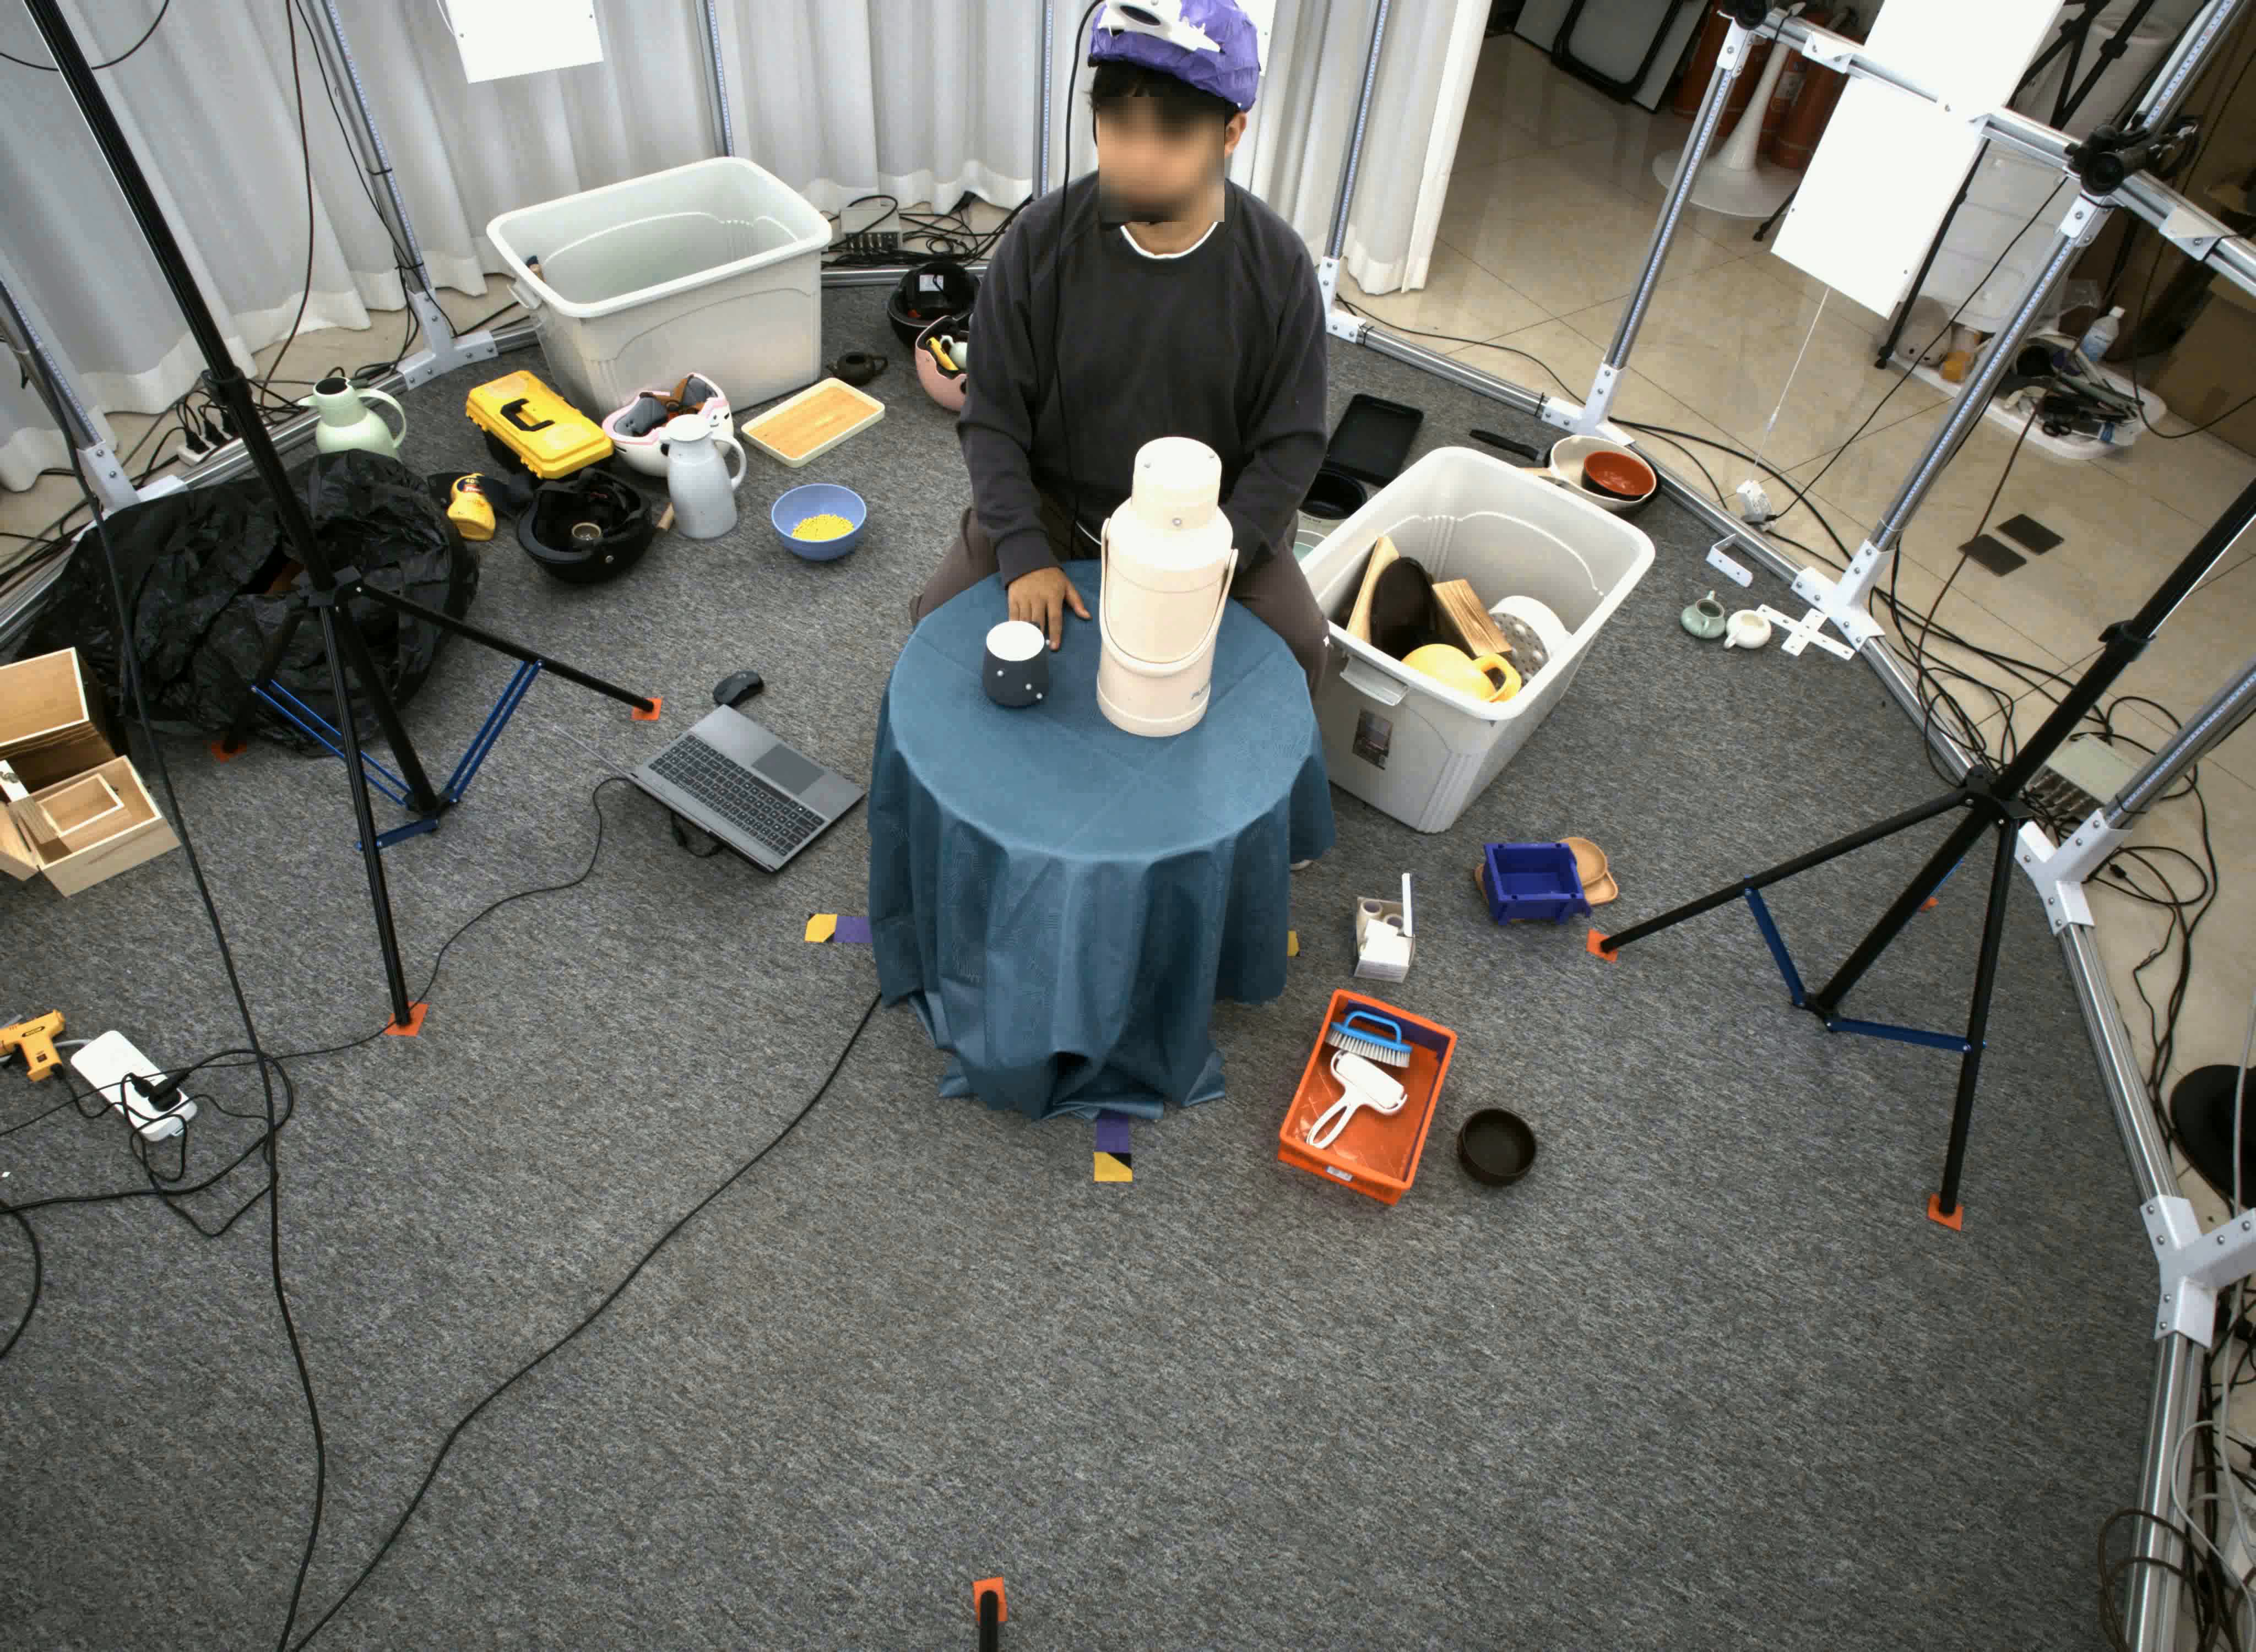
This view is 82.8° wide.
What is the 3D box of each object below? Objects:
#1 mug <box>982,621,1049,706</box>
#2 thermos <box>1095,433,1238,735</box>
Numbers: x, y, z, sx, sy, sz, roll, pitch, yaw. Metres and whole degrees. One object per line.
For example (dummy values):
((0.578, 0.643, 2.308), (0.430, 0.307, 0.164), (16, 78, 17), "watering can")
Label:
((-0.150, -0.237, 1.800), (0.094, 0.088, 0.125), (20, 51, 12), "mug")
((0.051, -0.321, 1.692), (0.176, 0.396, 0.211), (15, 50, 8), "thermos")
